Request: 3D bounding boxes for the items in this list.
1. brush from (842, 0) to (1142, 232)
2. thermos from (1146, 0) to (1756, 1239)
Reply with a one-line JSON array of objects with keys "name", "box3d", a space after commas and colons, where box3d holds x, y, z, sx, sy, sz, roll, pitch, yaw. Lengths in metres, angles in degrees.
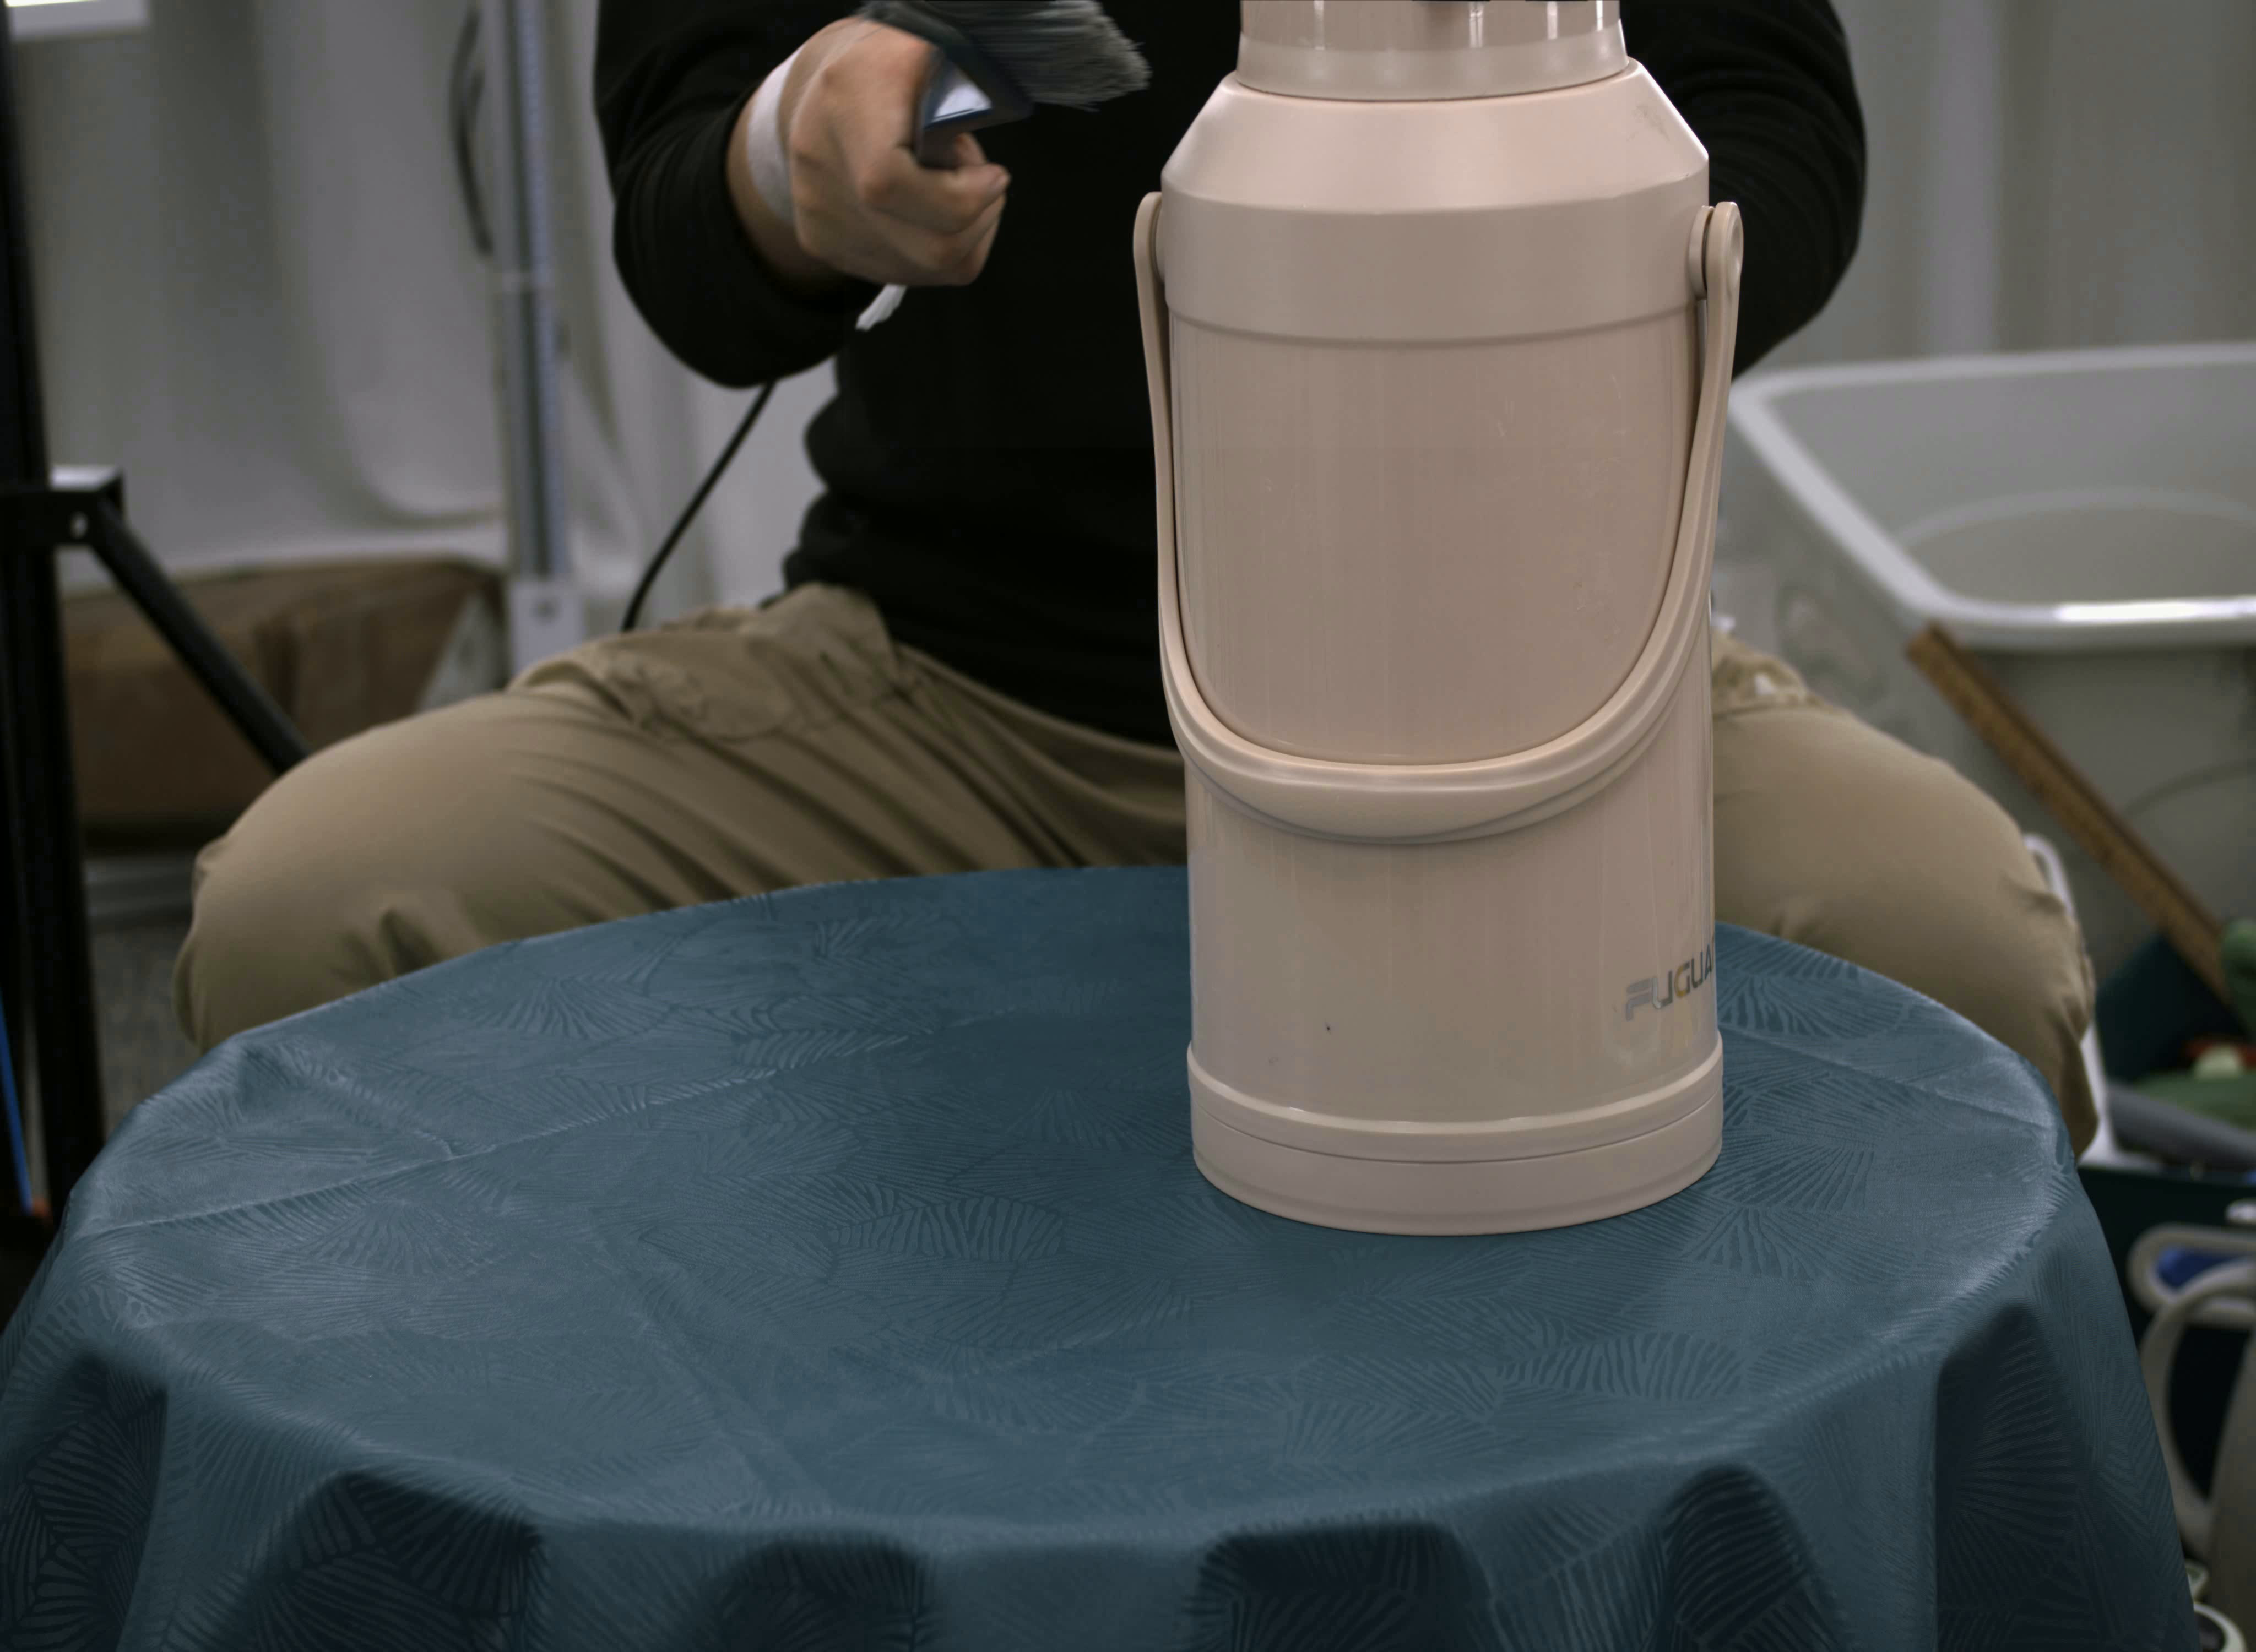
[{"name": "brush", "box3d": [-0.057, -0.220, 1.598, 0.094, 0.034, 0.275, 8, -5, -11]}, {"name": "thermos", "box3d": [0.100, -0.099, 1.544, 0.177, 0.406, 0.205, 2, 16, 19]}]
